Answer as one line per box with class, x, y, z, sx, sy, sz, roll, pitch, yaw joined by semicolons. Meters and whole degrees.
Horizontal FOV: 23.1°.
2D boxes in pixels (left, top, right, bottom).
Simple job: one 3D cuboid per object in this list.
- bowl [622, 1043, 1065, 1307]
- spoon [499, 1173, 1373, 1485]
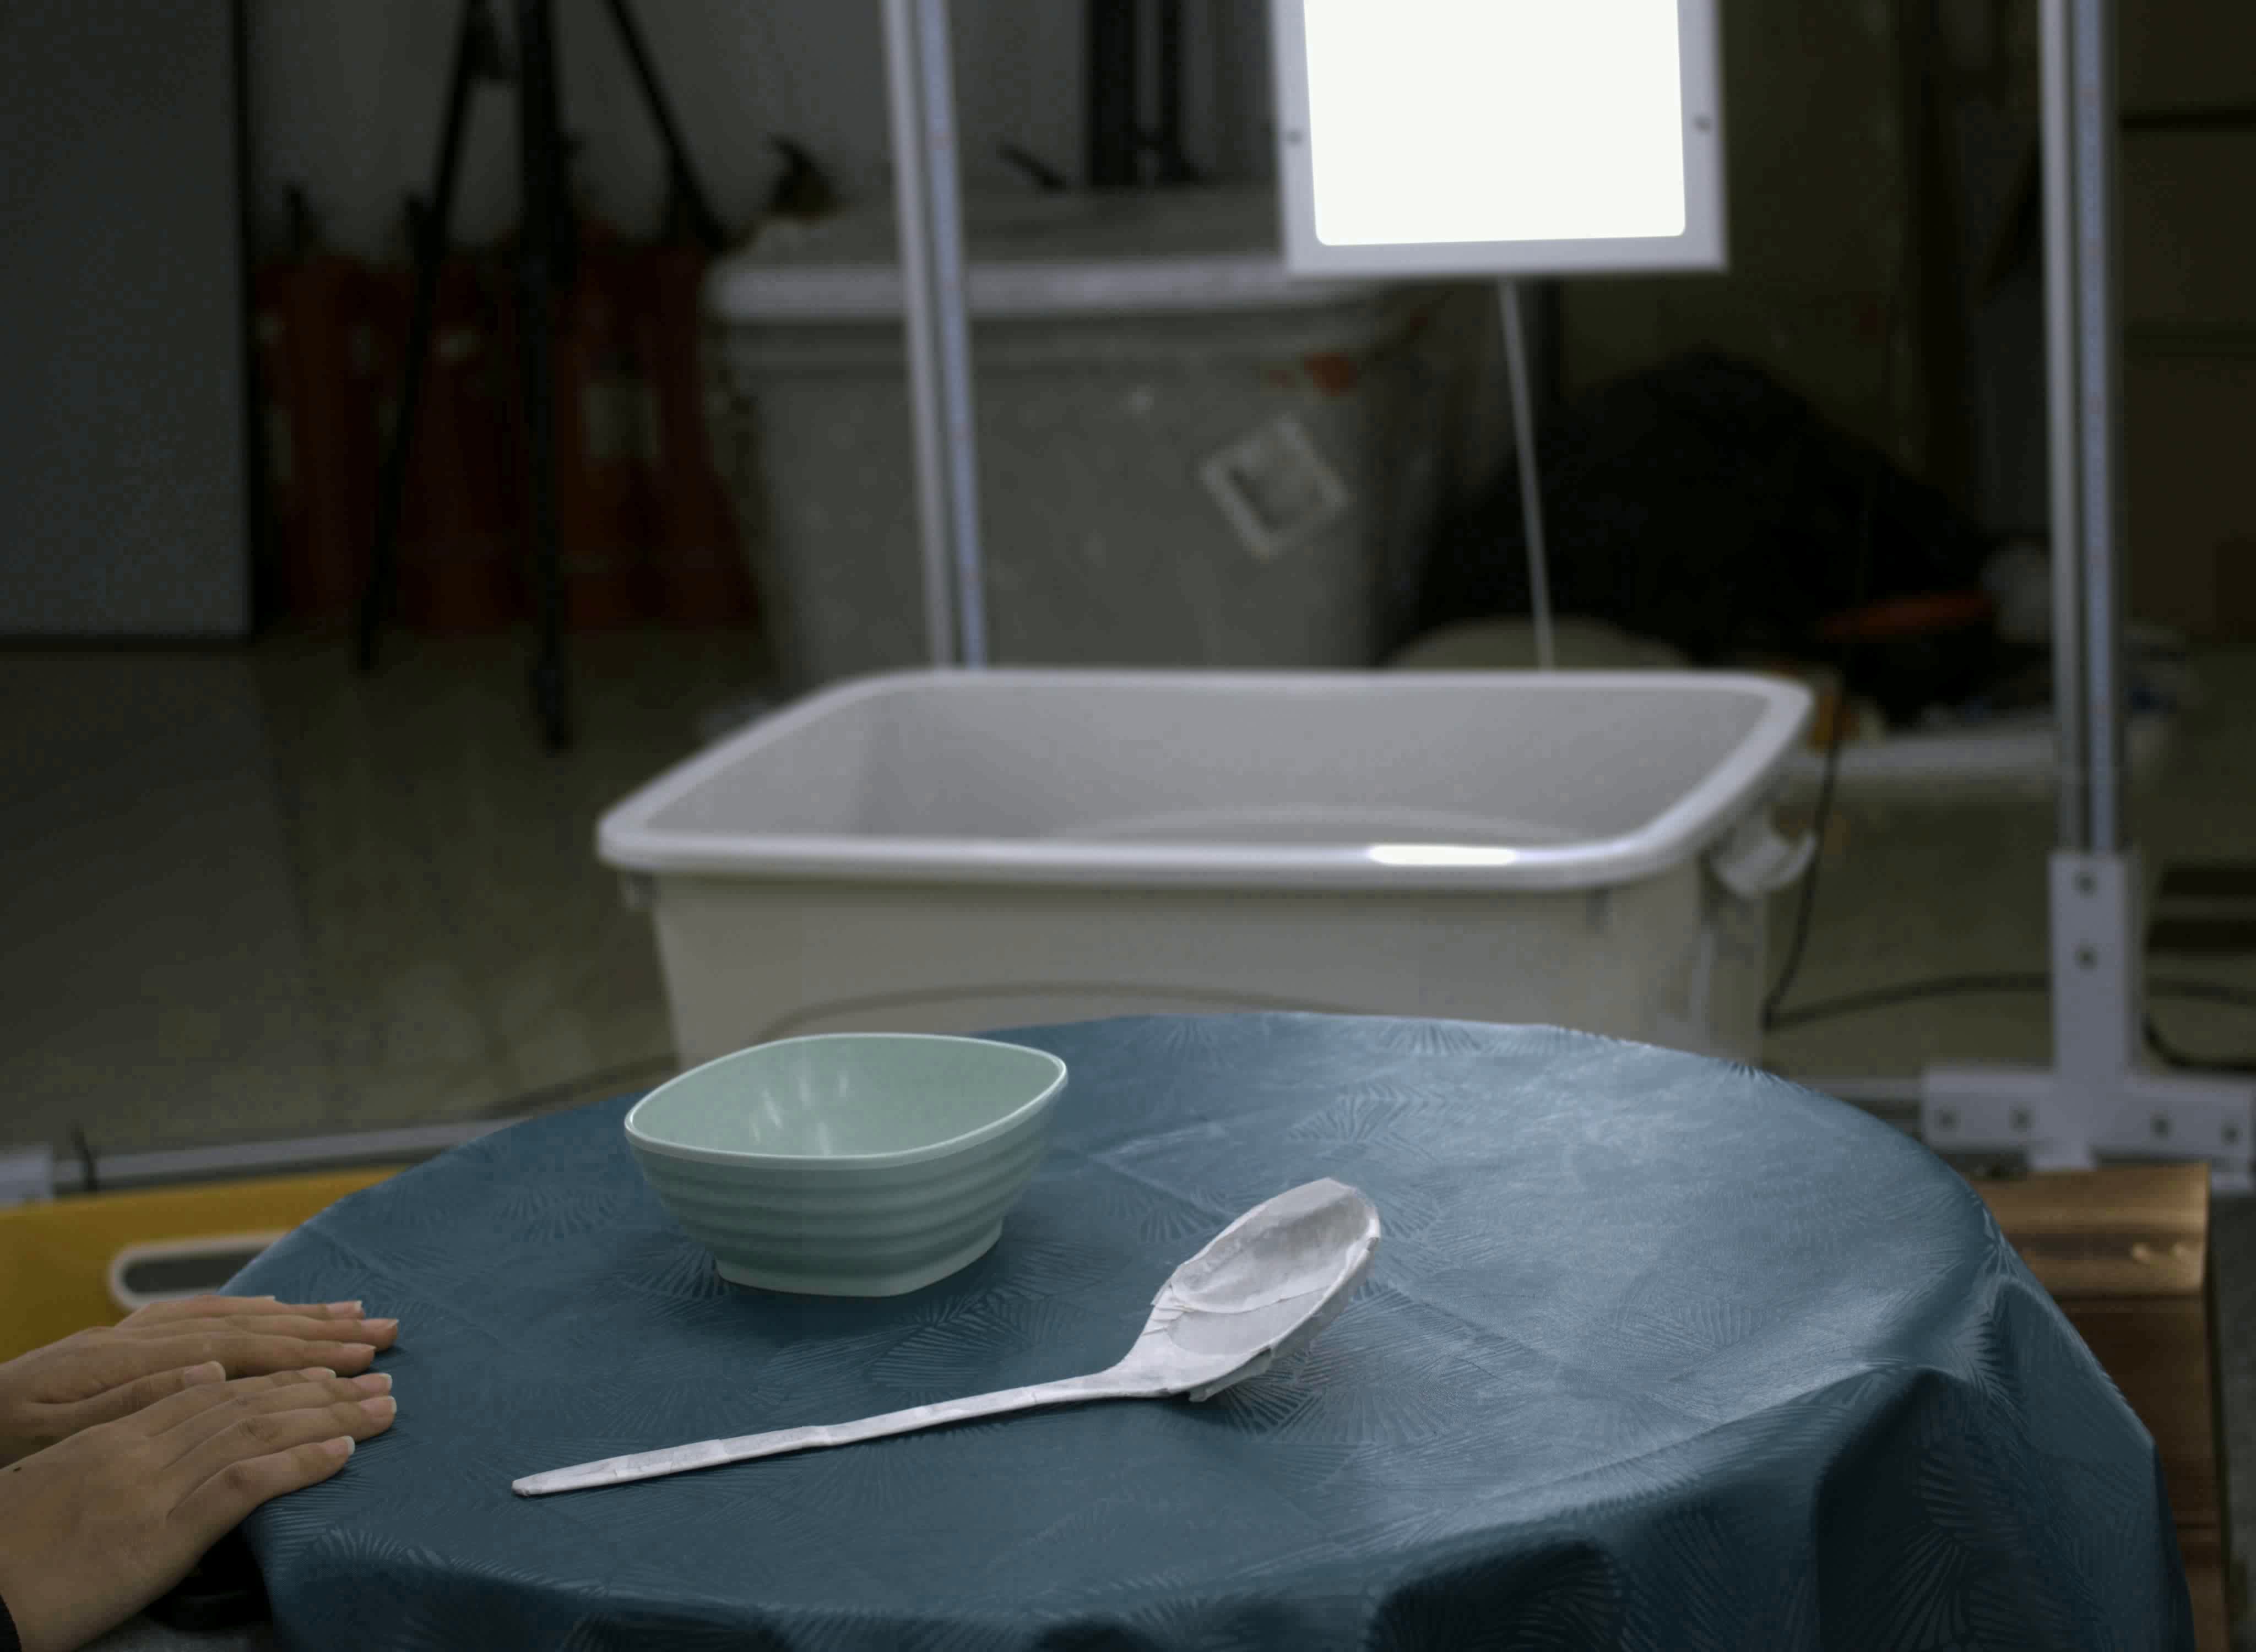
bowl;-0.093;0.120;1.850;0.151;0.059;0.151;-5;14;0
spoon;-0.058;0.153;1.691;0.274;0.059;0.101;-7;9;-8
